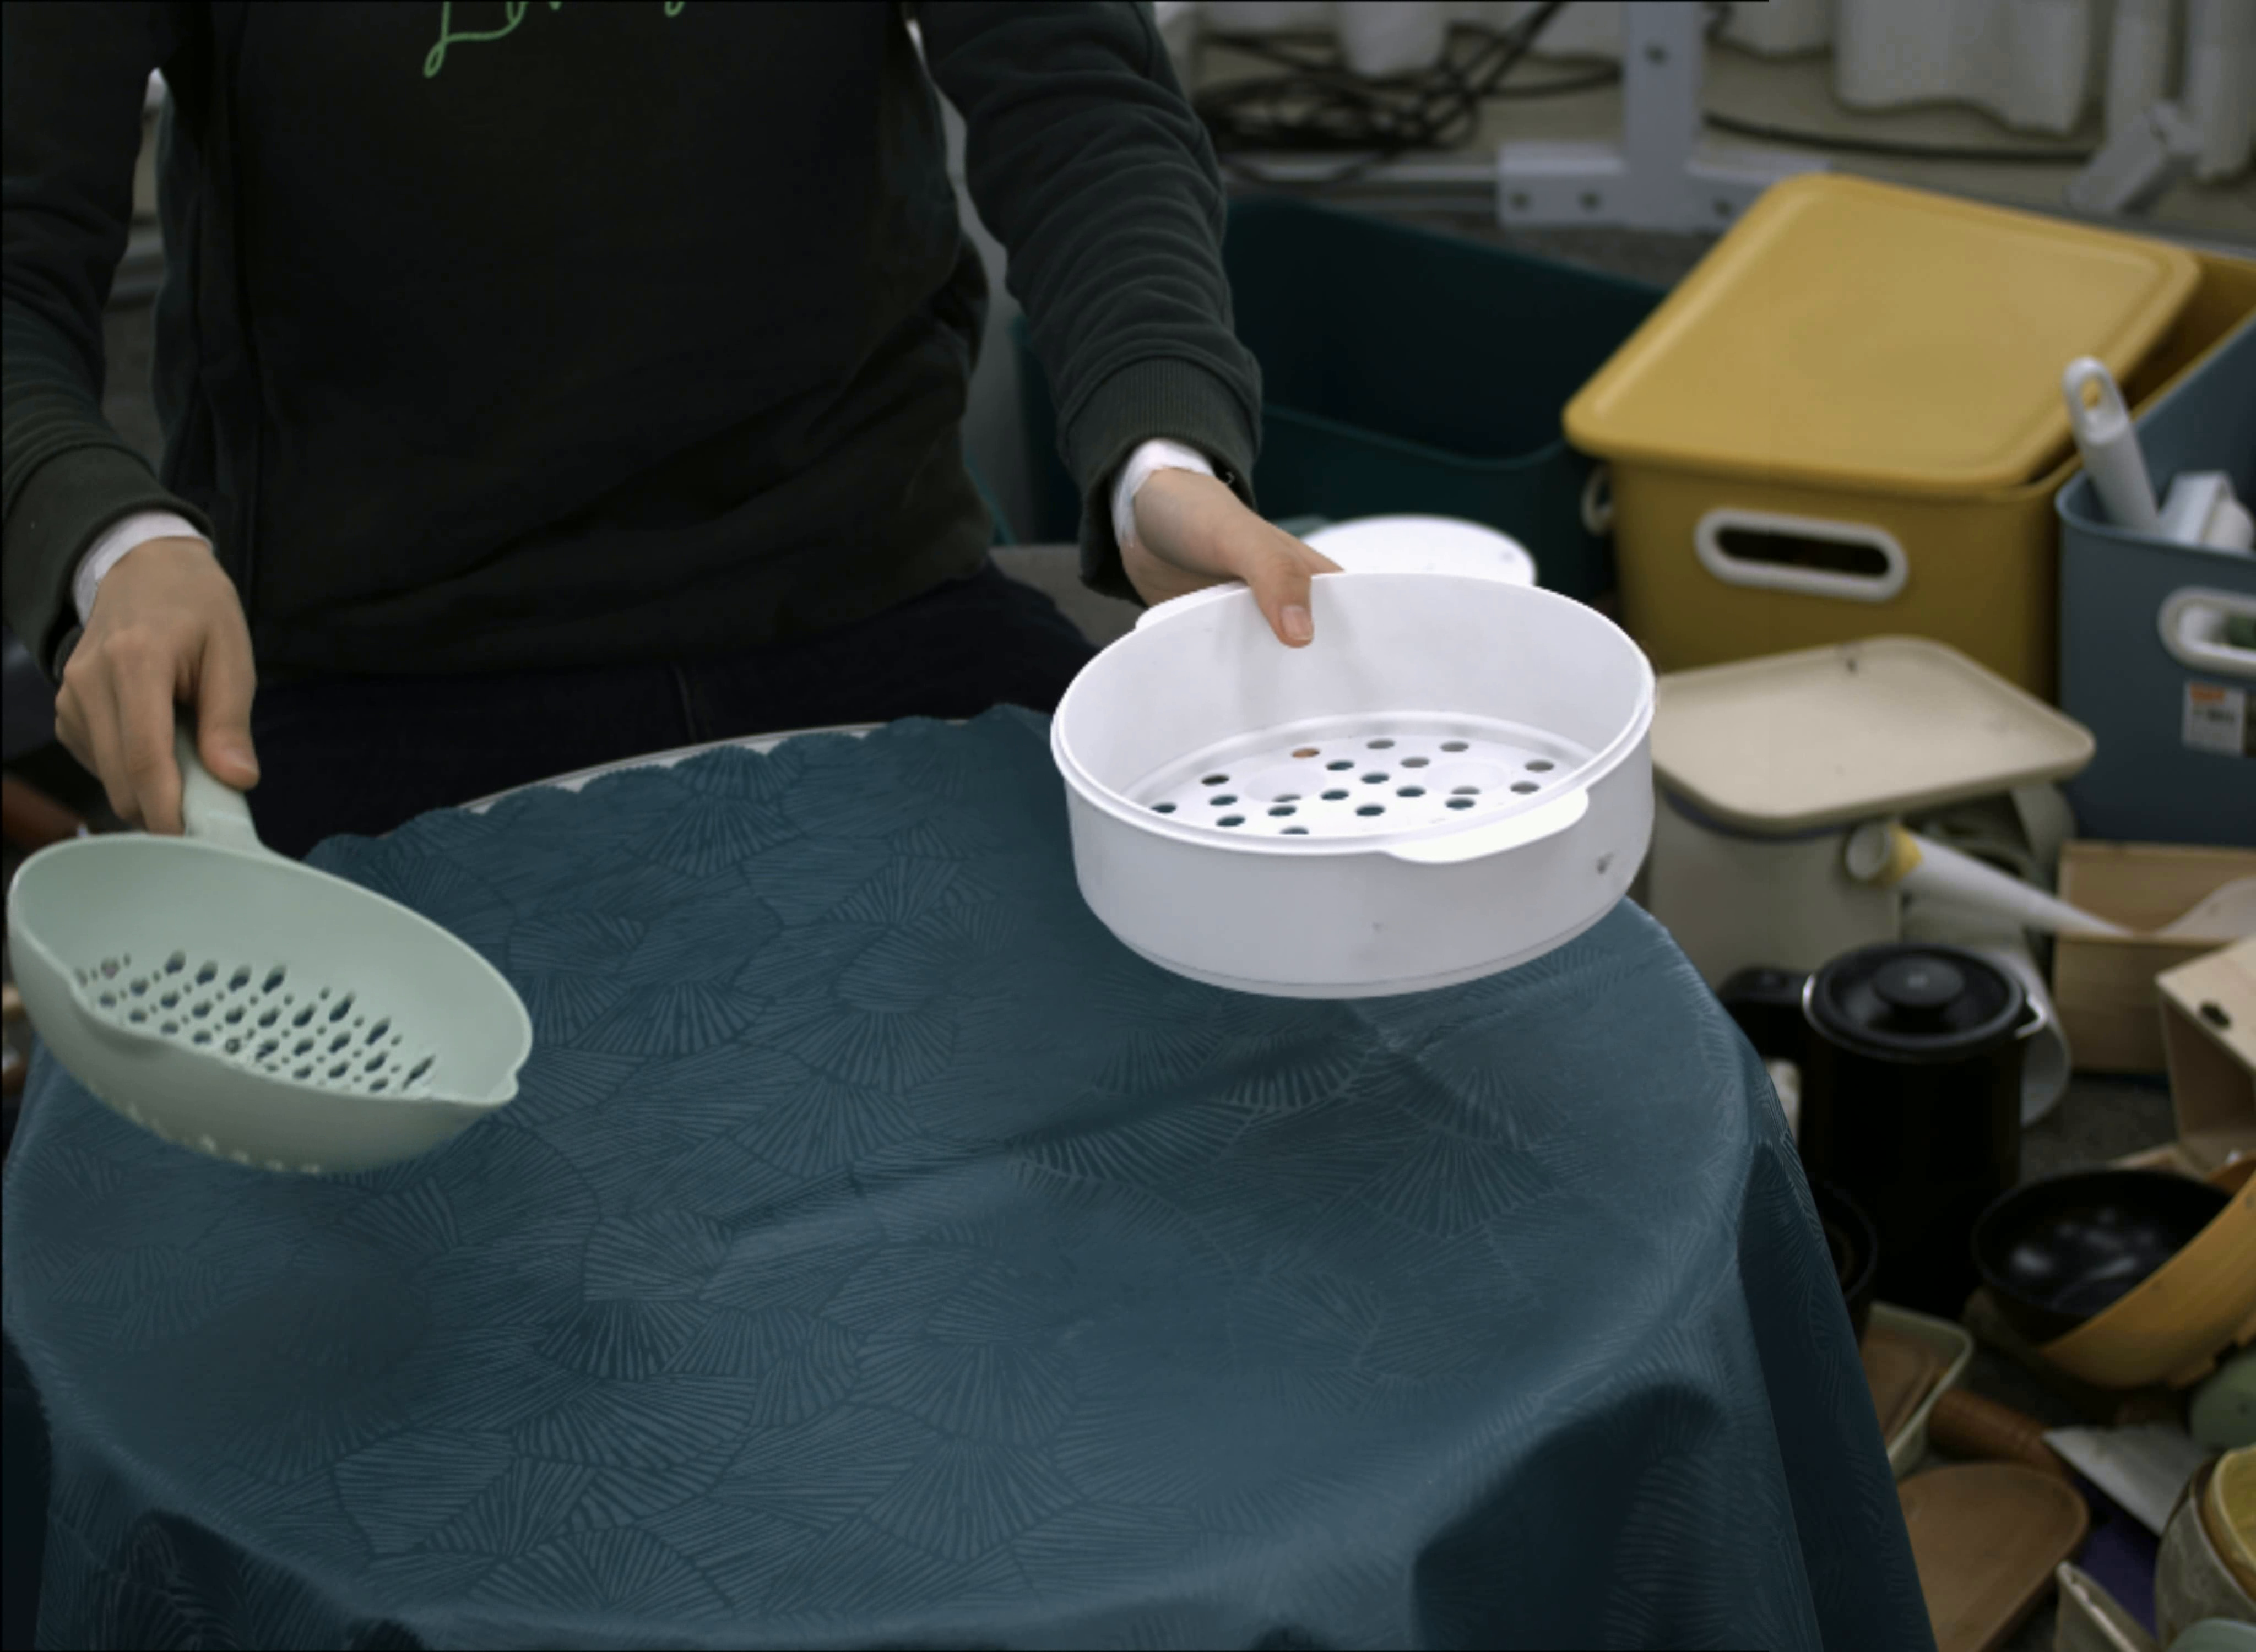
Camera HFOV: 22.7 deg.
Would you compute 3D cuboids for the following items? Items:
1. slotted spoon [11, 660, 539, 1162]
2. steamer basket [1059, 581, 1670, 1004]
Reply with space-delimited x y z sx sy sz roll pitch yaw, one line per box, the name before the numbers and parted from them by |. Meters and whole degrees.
slotted spoon | -0.295 0.012 1.840 0.169 0.074 0.363 16 25 -23
steamer basket | 0.079 -0.011 1.859 0.203 0.068 0.232 -15 28 -21
